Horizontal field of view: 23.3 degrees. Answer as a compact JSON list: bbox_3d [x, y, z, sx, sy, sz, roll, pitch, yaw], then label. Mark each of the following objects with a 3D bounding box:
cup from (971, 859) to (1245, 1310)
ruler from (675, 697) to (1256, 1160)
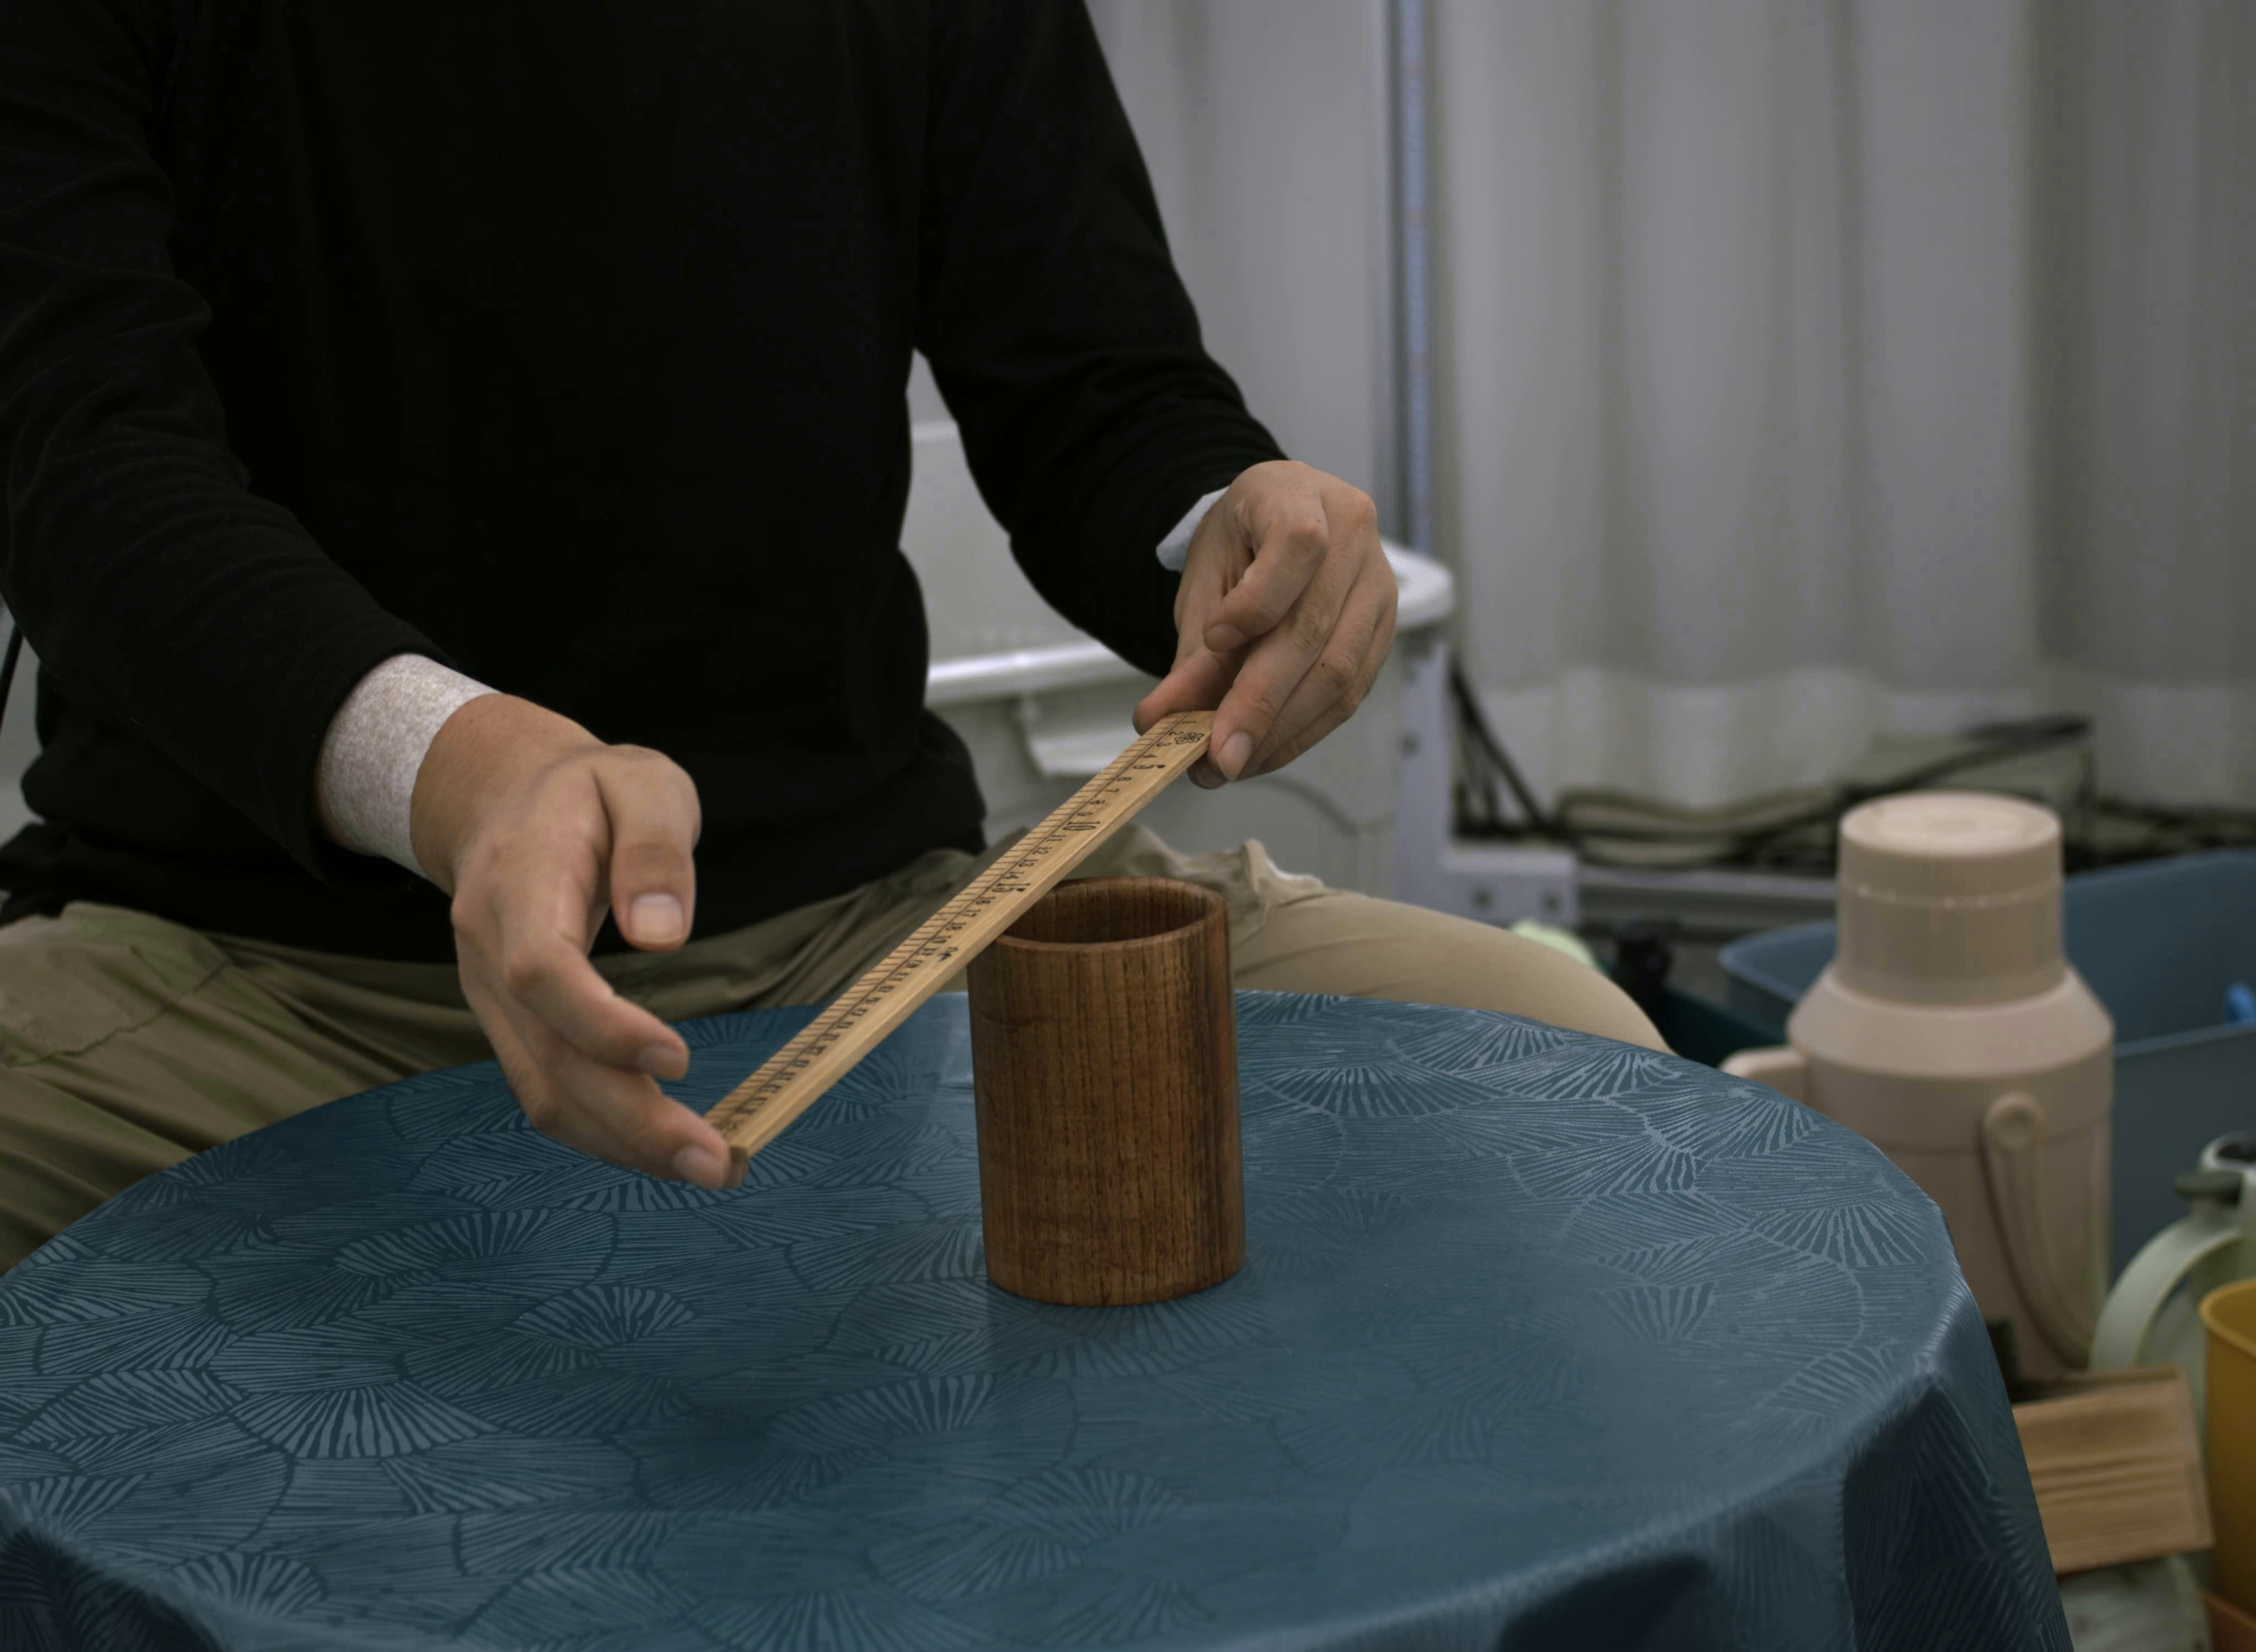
[{"bbox_3d":[-0.007,0.076,1.634,0.087,0.118,0.088,-2,13,0],"label":"cup"},{"bbox_3d":[-0.042,0.023,1.618,0.027,0.022,0.333,4,24,26],"label":"ruler"}]
